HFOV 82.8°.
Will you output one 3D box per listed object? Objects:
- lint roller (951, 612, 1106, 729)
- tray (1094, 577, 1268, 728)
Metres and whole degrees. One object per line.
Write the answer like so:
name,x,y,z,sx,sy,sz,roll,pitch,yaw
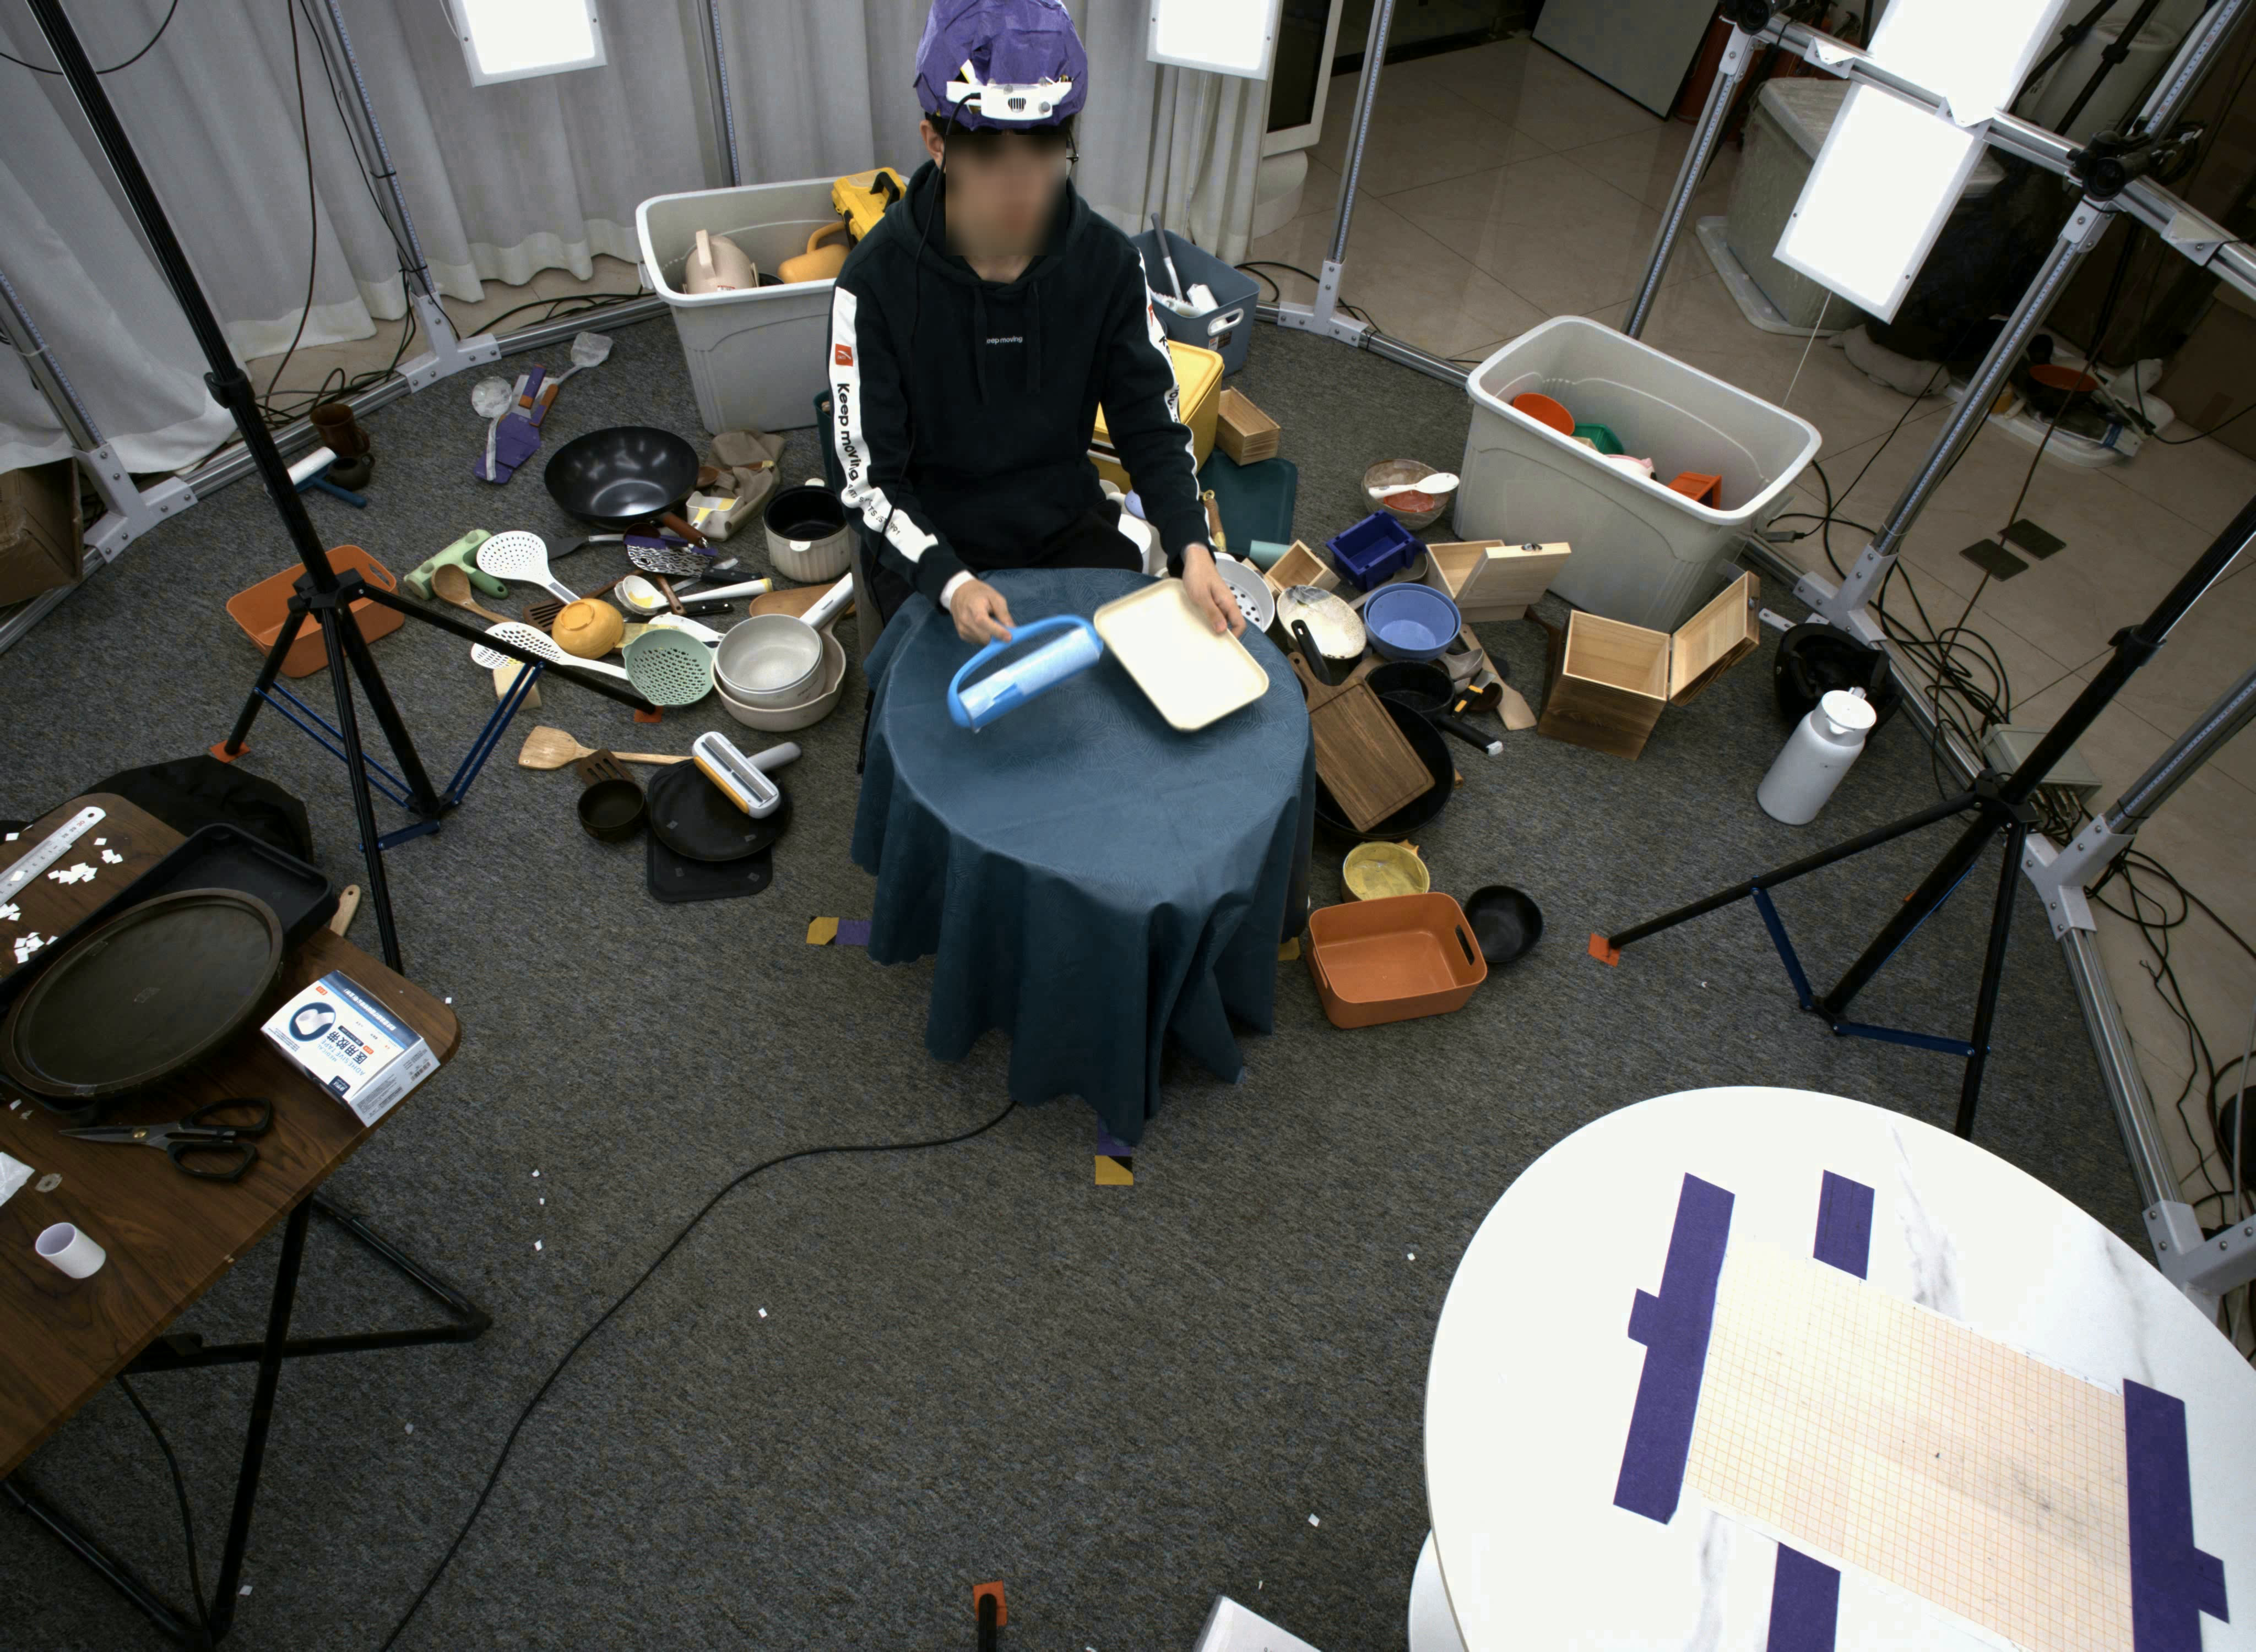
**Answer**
lint roller,-0.163,-0.241,1.741,0.230,0.066,0.184,-35,59,-11
tray,0.073,-0.247,1.818,0.172,0.017,0.243,-25,65,-25
